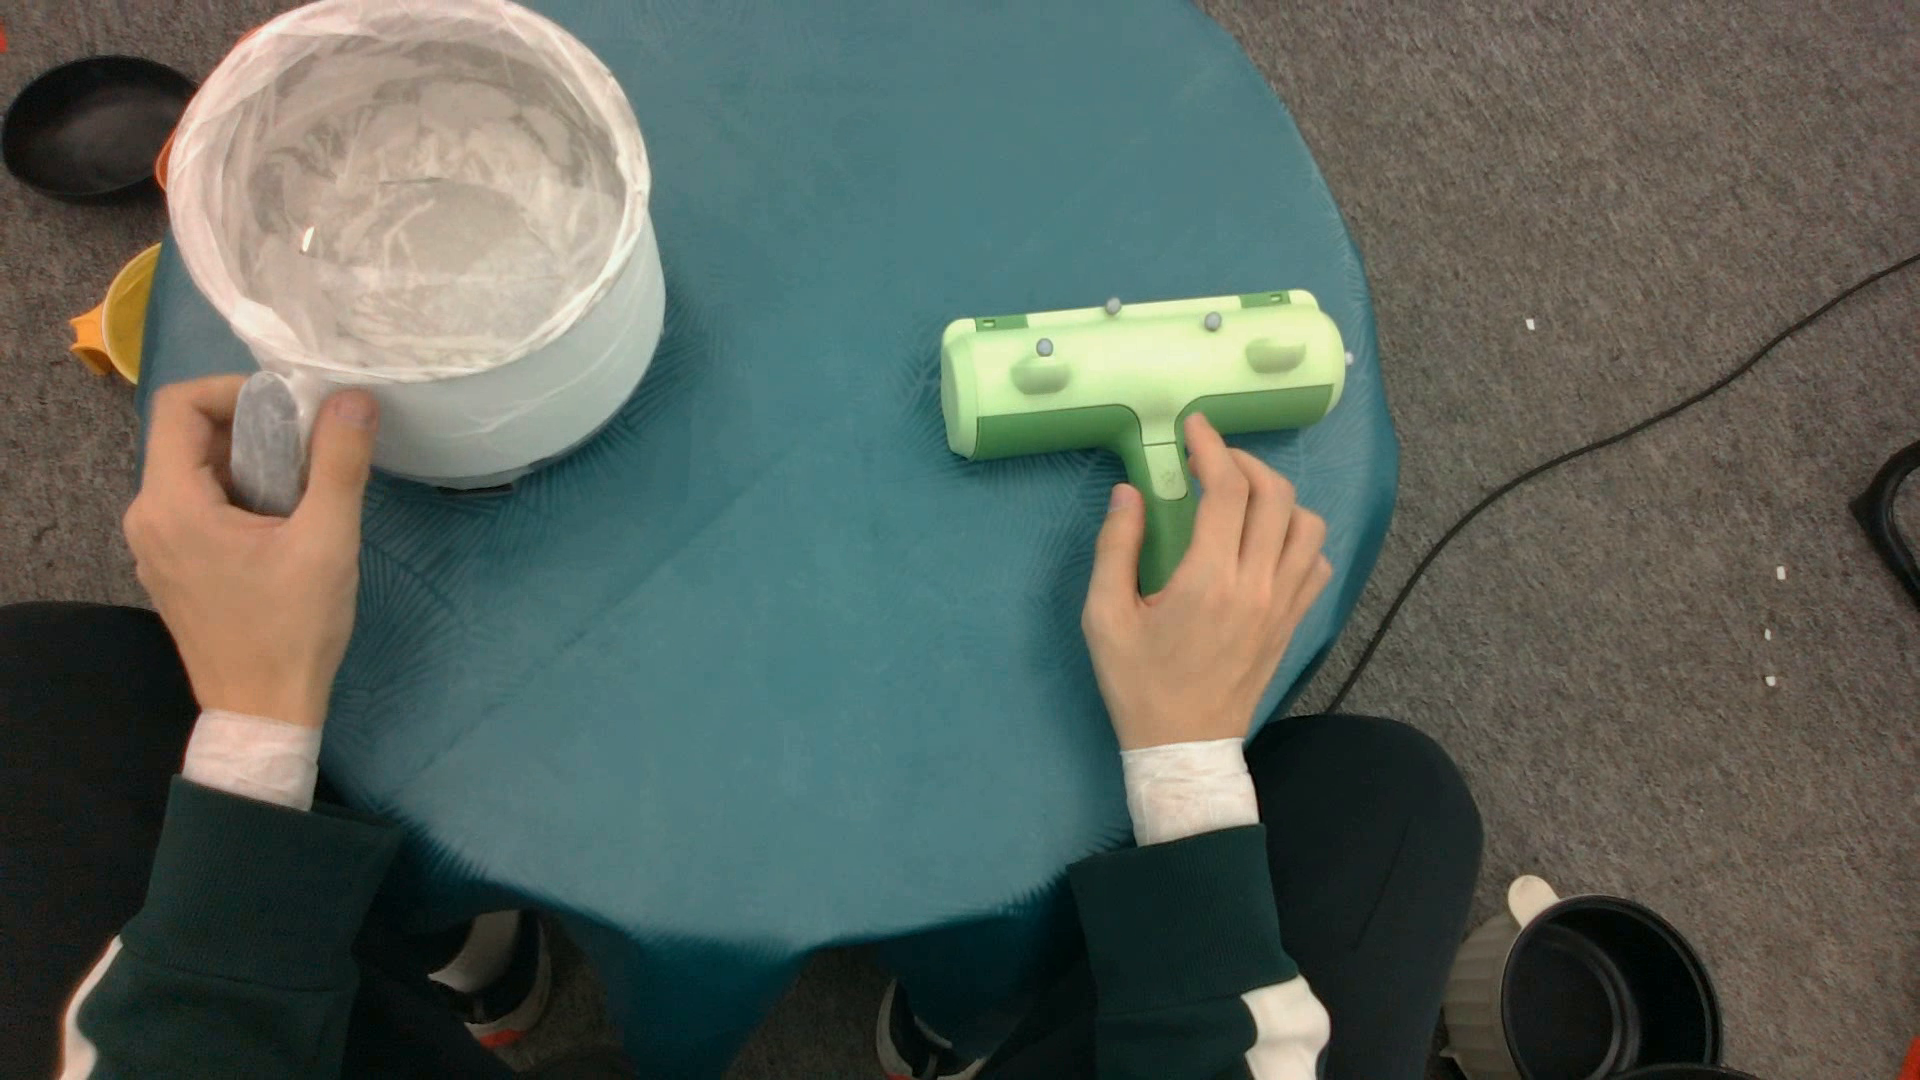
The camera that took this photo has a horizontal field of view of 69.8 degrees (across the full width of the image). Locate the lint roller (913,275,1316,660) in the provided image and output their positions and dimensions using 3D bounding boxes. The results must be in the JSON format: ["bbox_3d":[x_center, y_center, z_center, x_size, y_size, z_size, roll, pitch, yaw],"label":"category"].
[{"bbox_3d":[0.088,-0.040,0.652,0.199,0.082,0.184,-7,68,-12],"label":"lint roller"}]

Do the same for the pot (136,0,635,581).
[{"bbox_3d":[-0.242,-0.099,0.582,0.179,0.136,0.234,22,69,-1],"label":"pot"}]
